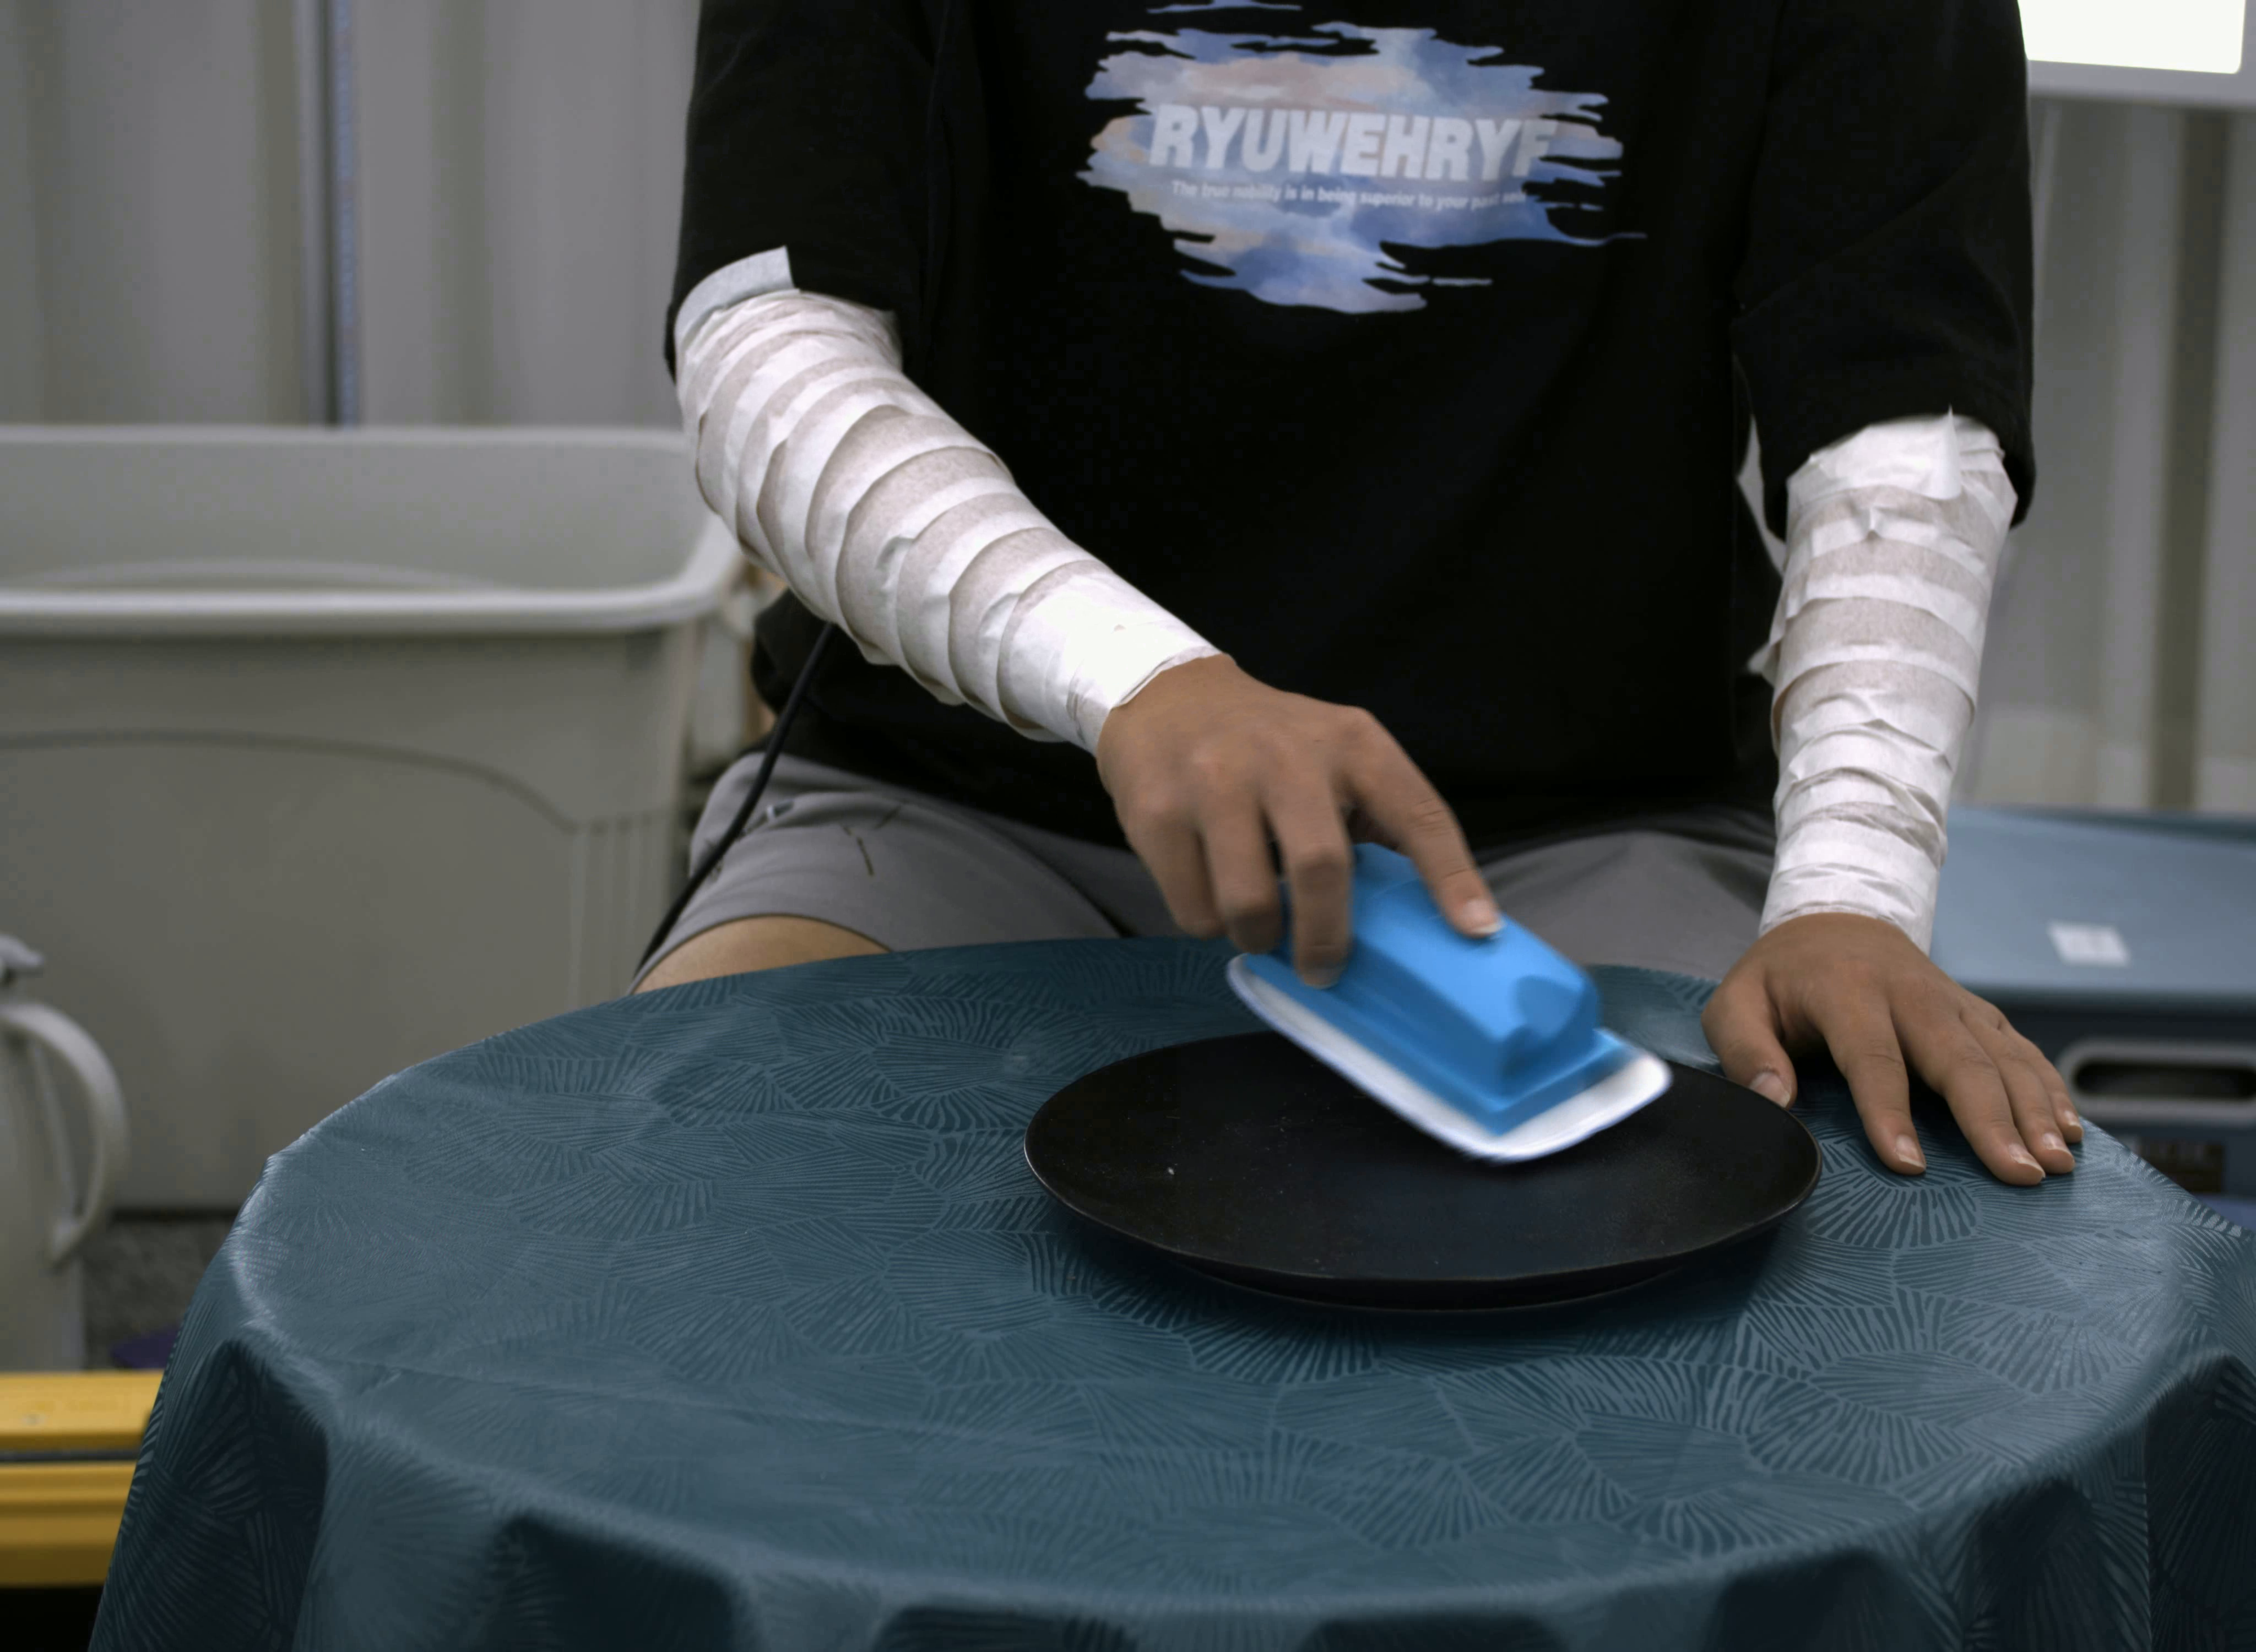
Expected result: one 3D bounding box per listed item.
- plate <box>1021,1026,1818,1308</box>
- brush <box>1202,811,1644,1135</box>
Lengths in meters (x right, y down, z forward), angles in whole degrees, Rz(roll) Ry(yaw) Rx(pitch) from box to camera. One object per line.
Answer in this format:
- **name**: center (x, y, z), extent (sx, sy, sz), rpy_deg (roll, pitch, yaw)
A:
- **plate**: center (0.088, 0.106, 1.606), extent (0.243, 0.023, 0.243), rpy_deg (1, 15, 0)
- **brush**: center (0.096, 0.042, 1.670), extent (0.084, 0.056, 0.142), rpy_deg (-23, 45, -38)
